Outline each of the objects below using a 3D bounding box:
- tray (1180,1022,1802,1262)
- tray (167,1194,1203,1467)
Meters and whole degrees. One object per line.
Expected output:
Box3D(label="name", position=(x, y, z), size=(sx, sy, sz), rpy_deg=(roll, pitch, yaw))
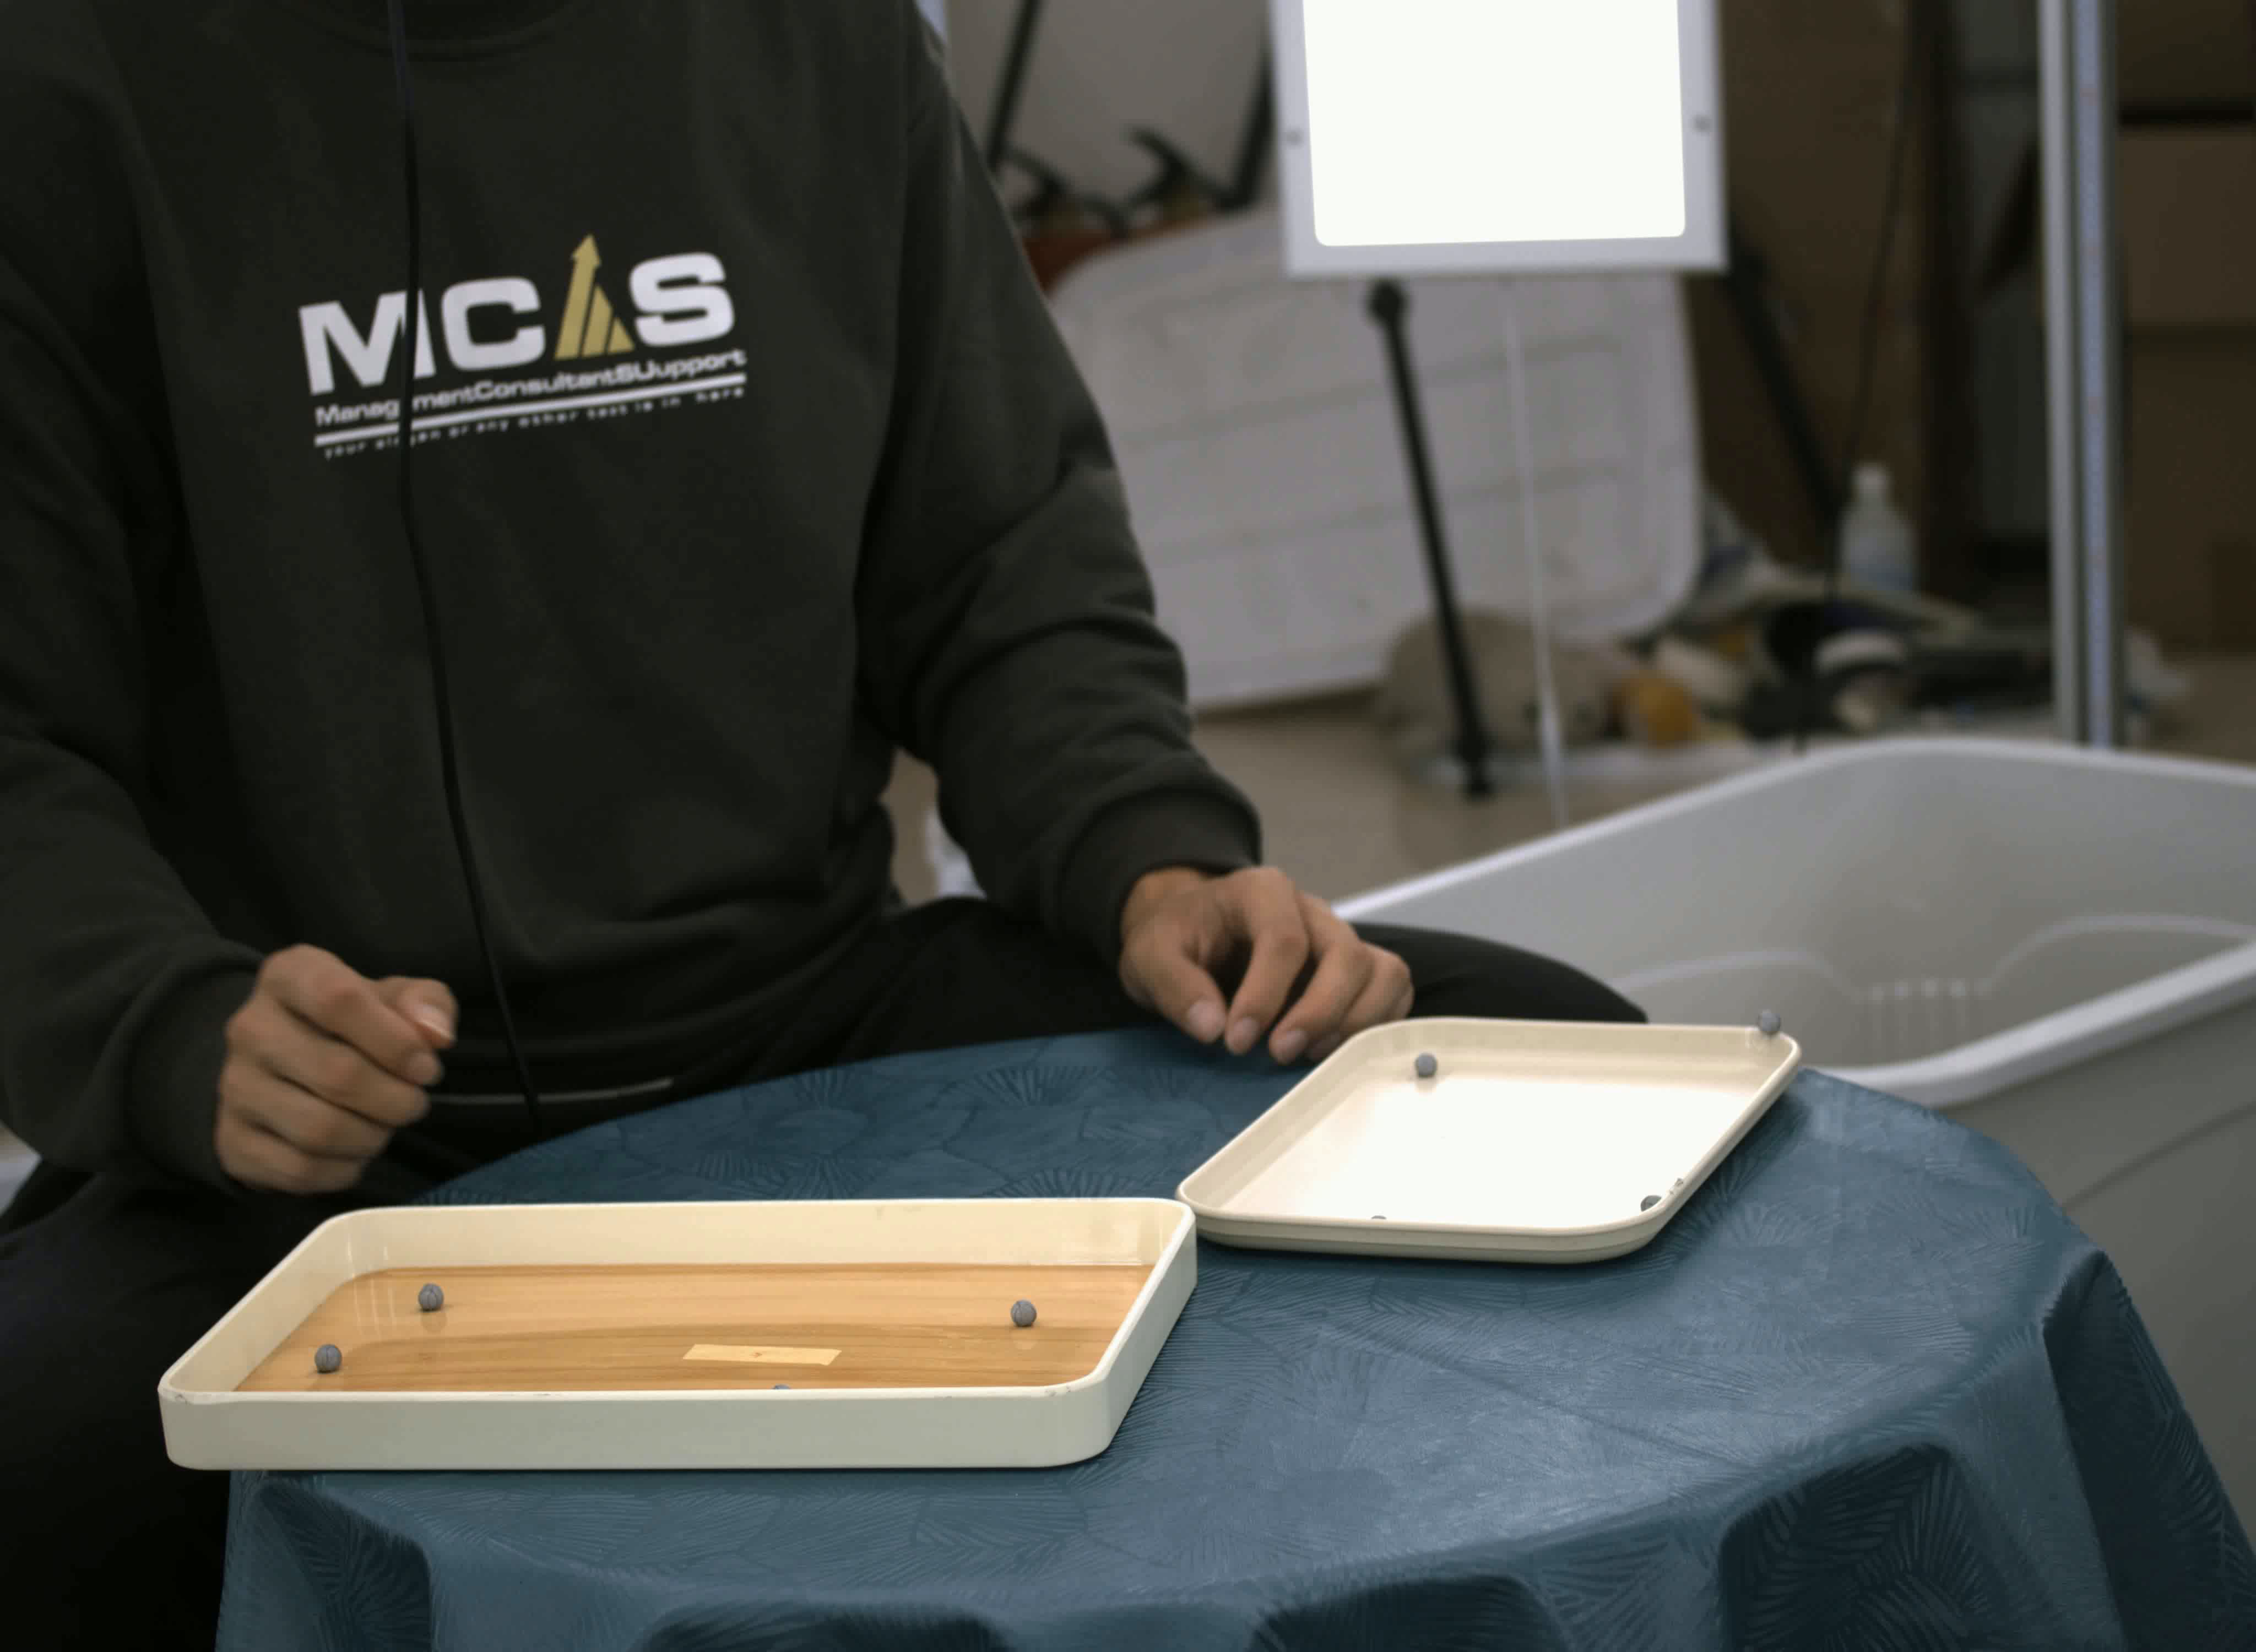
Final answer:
Box3D(label="tray", position=(0.129, 0.108, 1.895), size=(0.174, 0.017, 0.235), rpy_deg=(0, 14, 23))
Box3D(label="tray", position=(-0.136, 0.160, 1.754), size=(0.303, 0.027, 0.189), rpy_deg=(-2, 13, 13))
